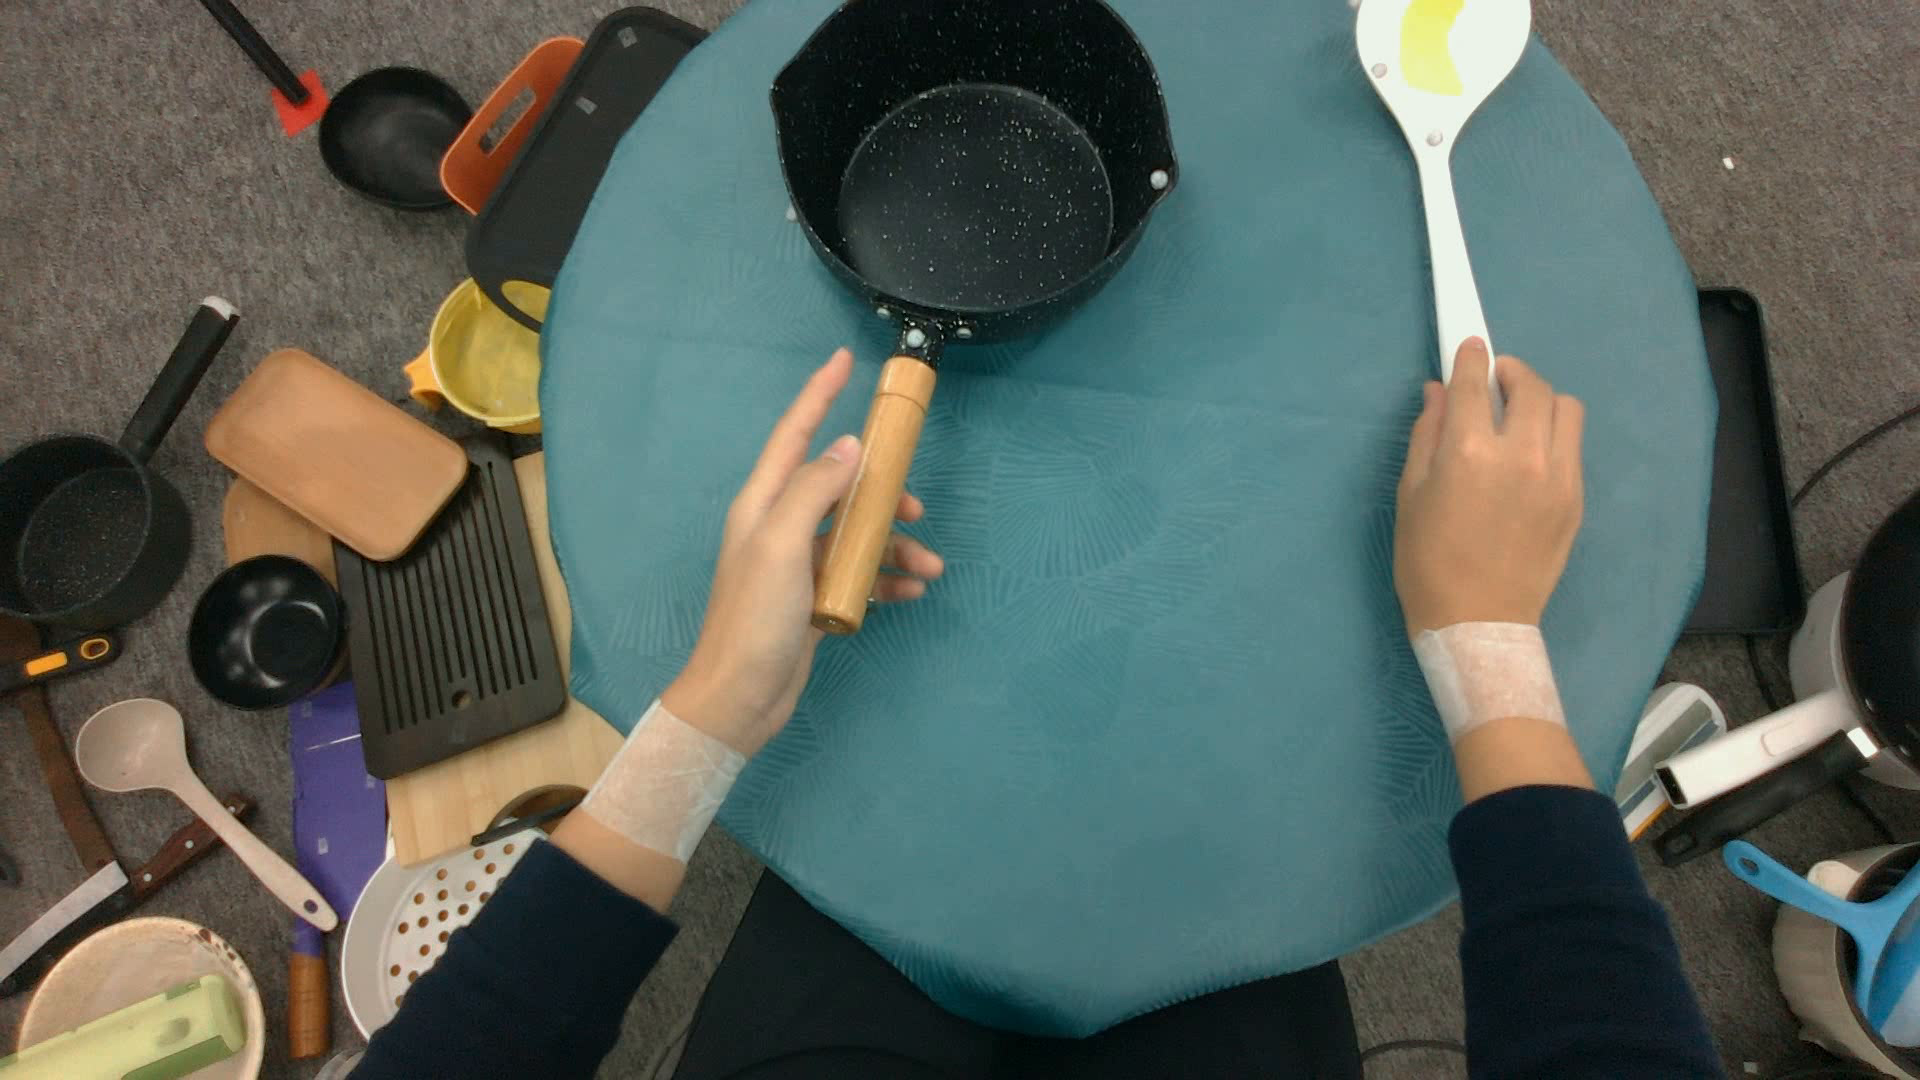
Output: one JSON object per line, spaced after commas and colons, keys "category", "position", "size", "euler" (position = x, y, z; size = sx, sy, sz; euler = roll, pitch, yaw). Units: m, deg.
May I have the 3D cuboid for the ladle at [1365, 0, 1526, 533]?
{"category": "ladle", "position": [0.252, -0.153, 0.691], "size": [0.090, 0.070, 0.293], "euler": [1, 77, -13]}

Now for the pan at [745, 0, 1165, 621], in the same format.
{"category": "pan", "position": [-0.019, -0.117, 0.663], "size": [0.207, 0.108, 0.343], "euler": [12, 76, 3]}
